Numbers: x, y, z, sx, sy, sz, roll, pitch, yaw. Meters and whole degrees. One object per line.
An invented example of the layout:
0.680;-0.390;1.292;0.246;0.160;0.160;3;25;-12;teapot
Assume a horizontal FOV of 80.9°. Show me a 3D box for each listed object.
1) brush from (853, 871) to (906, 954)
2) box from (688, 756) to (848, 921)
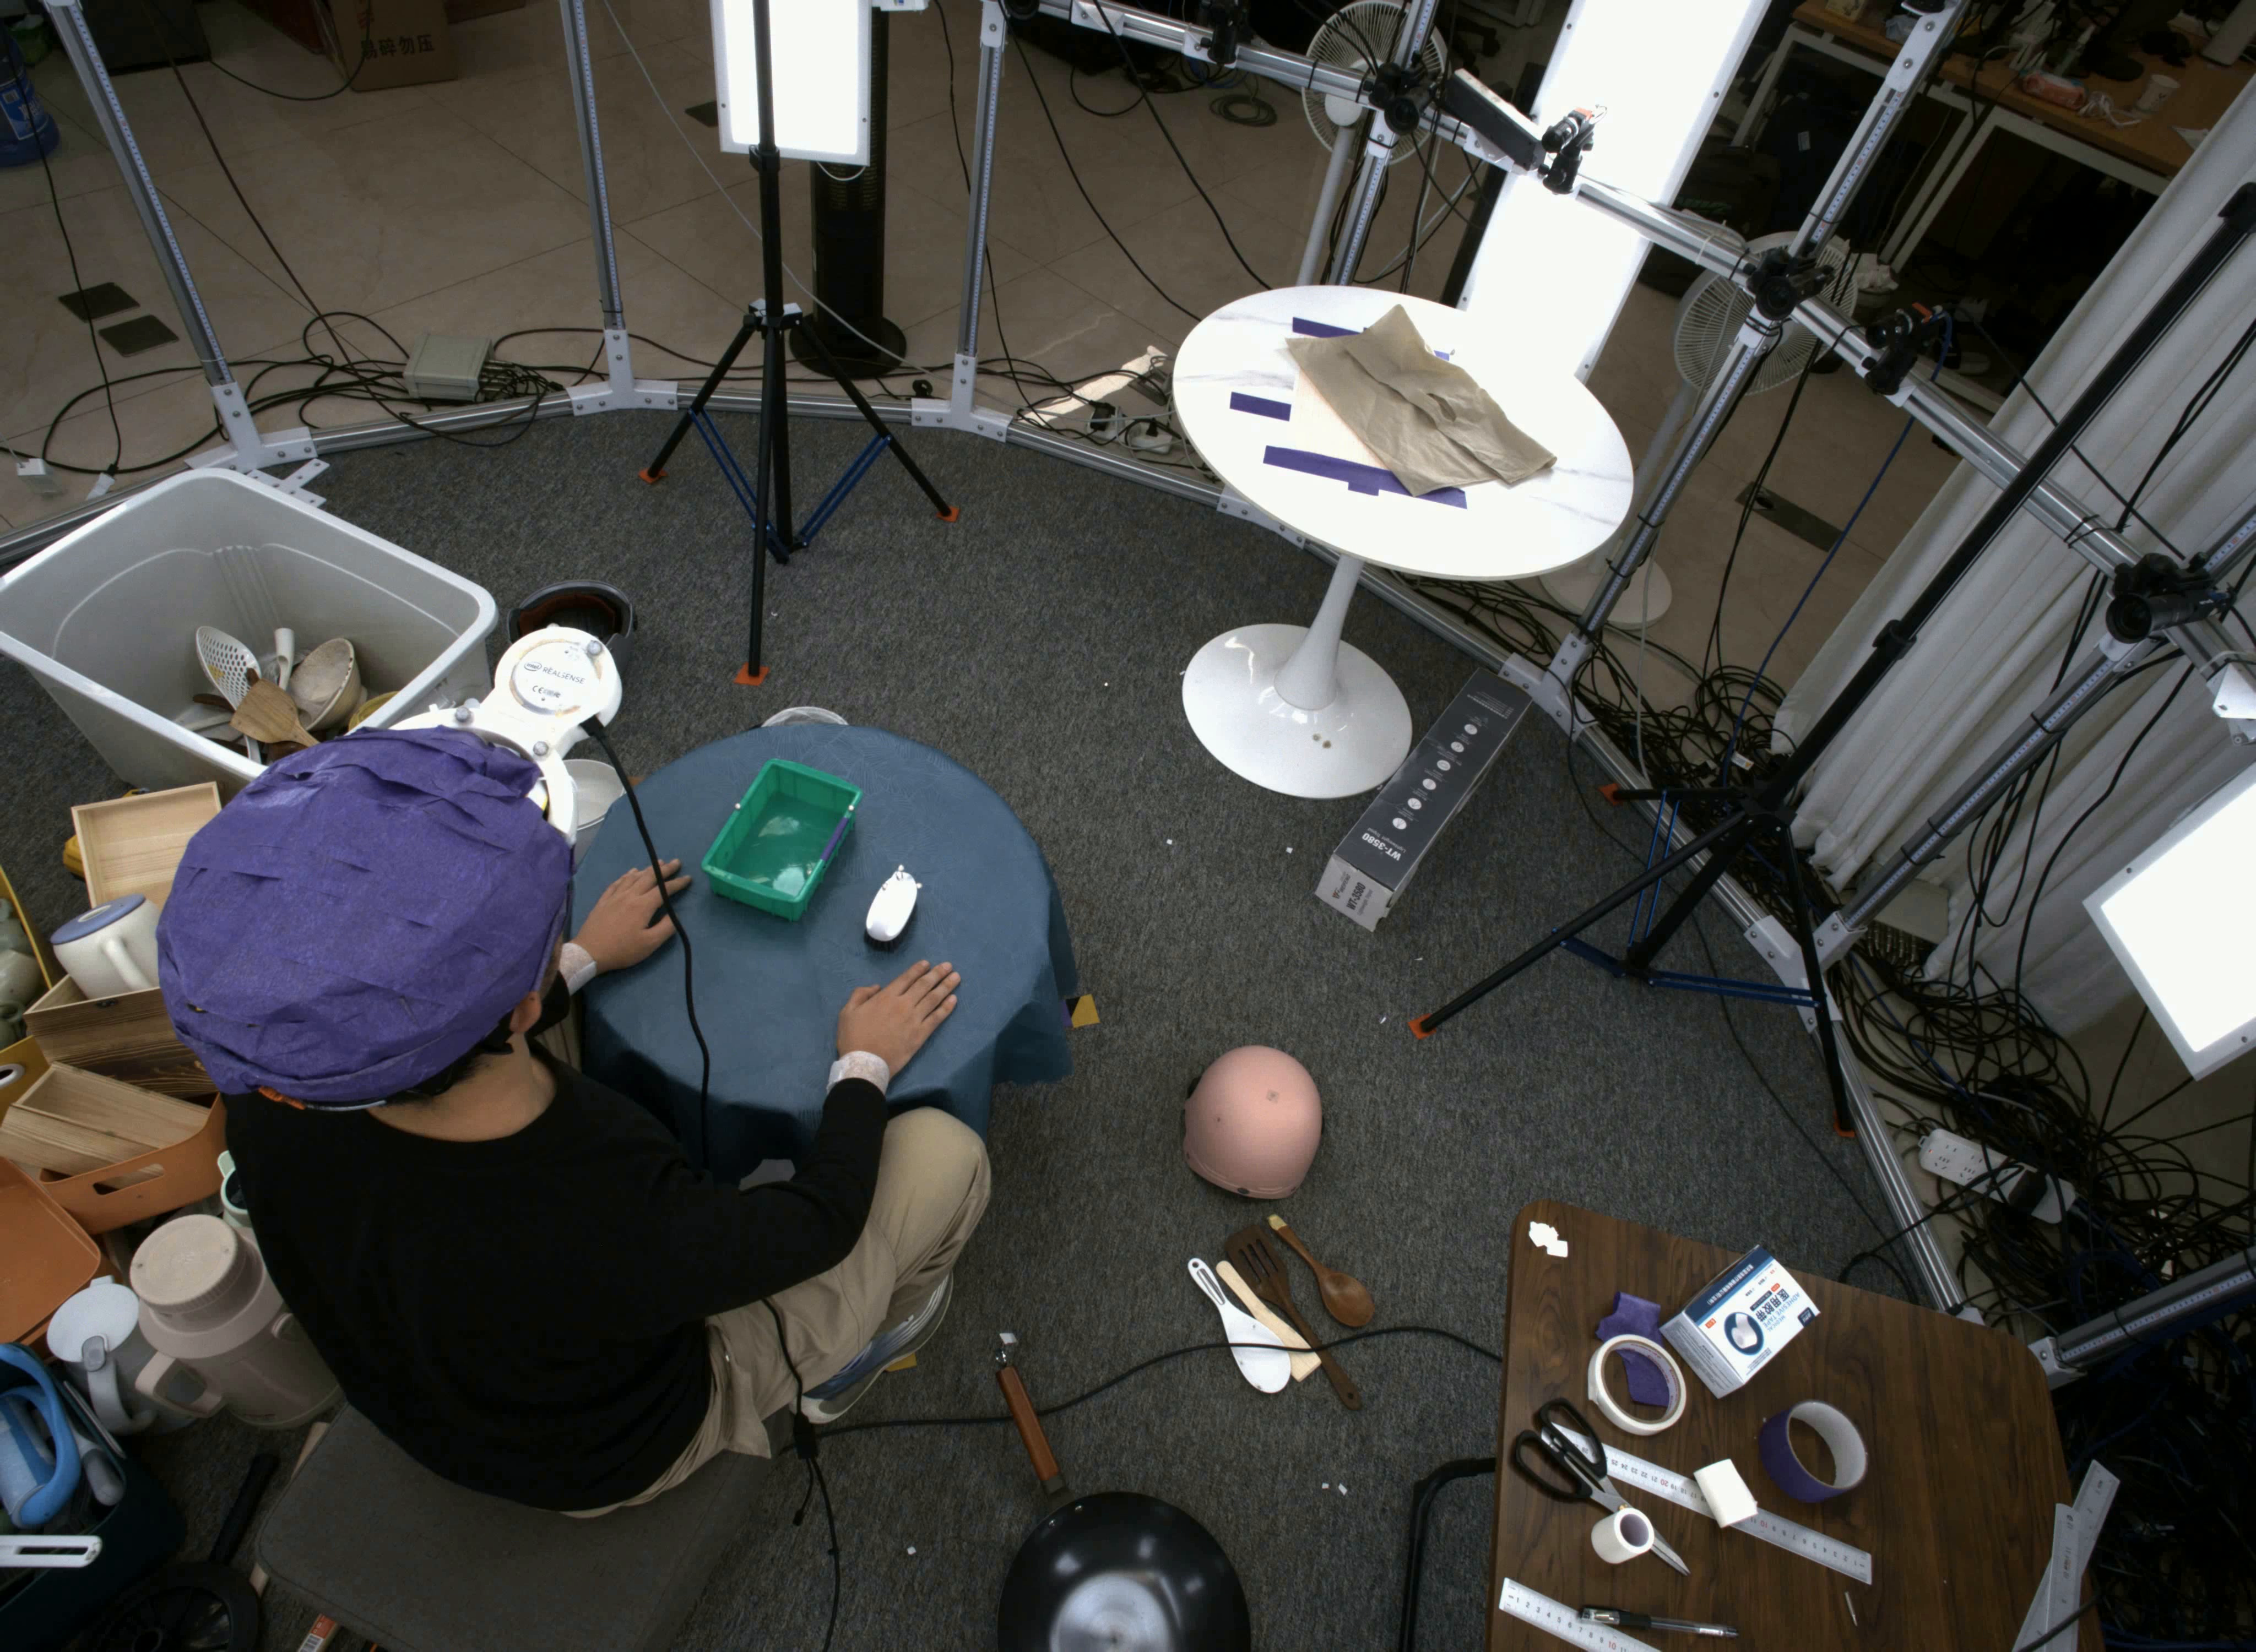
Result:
-0.311;0.099;1.627;0.050;0.074;0.098;19;51;2;brush
-0.457;0.017;1.657;0.138;0.066;0.208;19;50;-2;box
